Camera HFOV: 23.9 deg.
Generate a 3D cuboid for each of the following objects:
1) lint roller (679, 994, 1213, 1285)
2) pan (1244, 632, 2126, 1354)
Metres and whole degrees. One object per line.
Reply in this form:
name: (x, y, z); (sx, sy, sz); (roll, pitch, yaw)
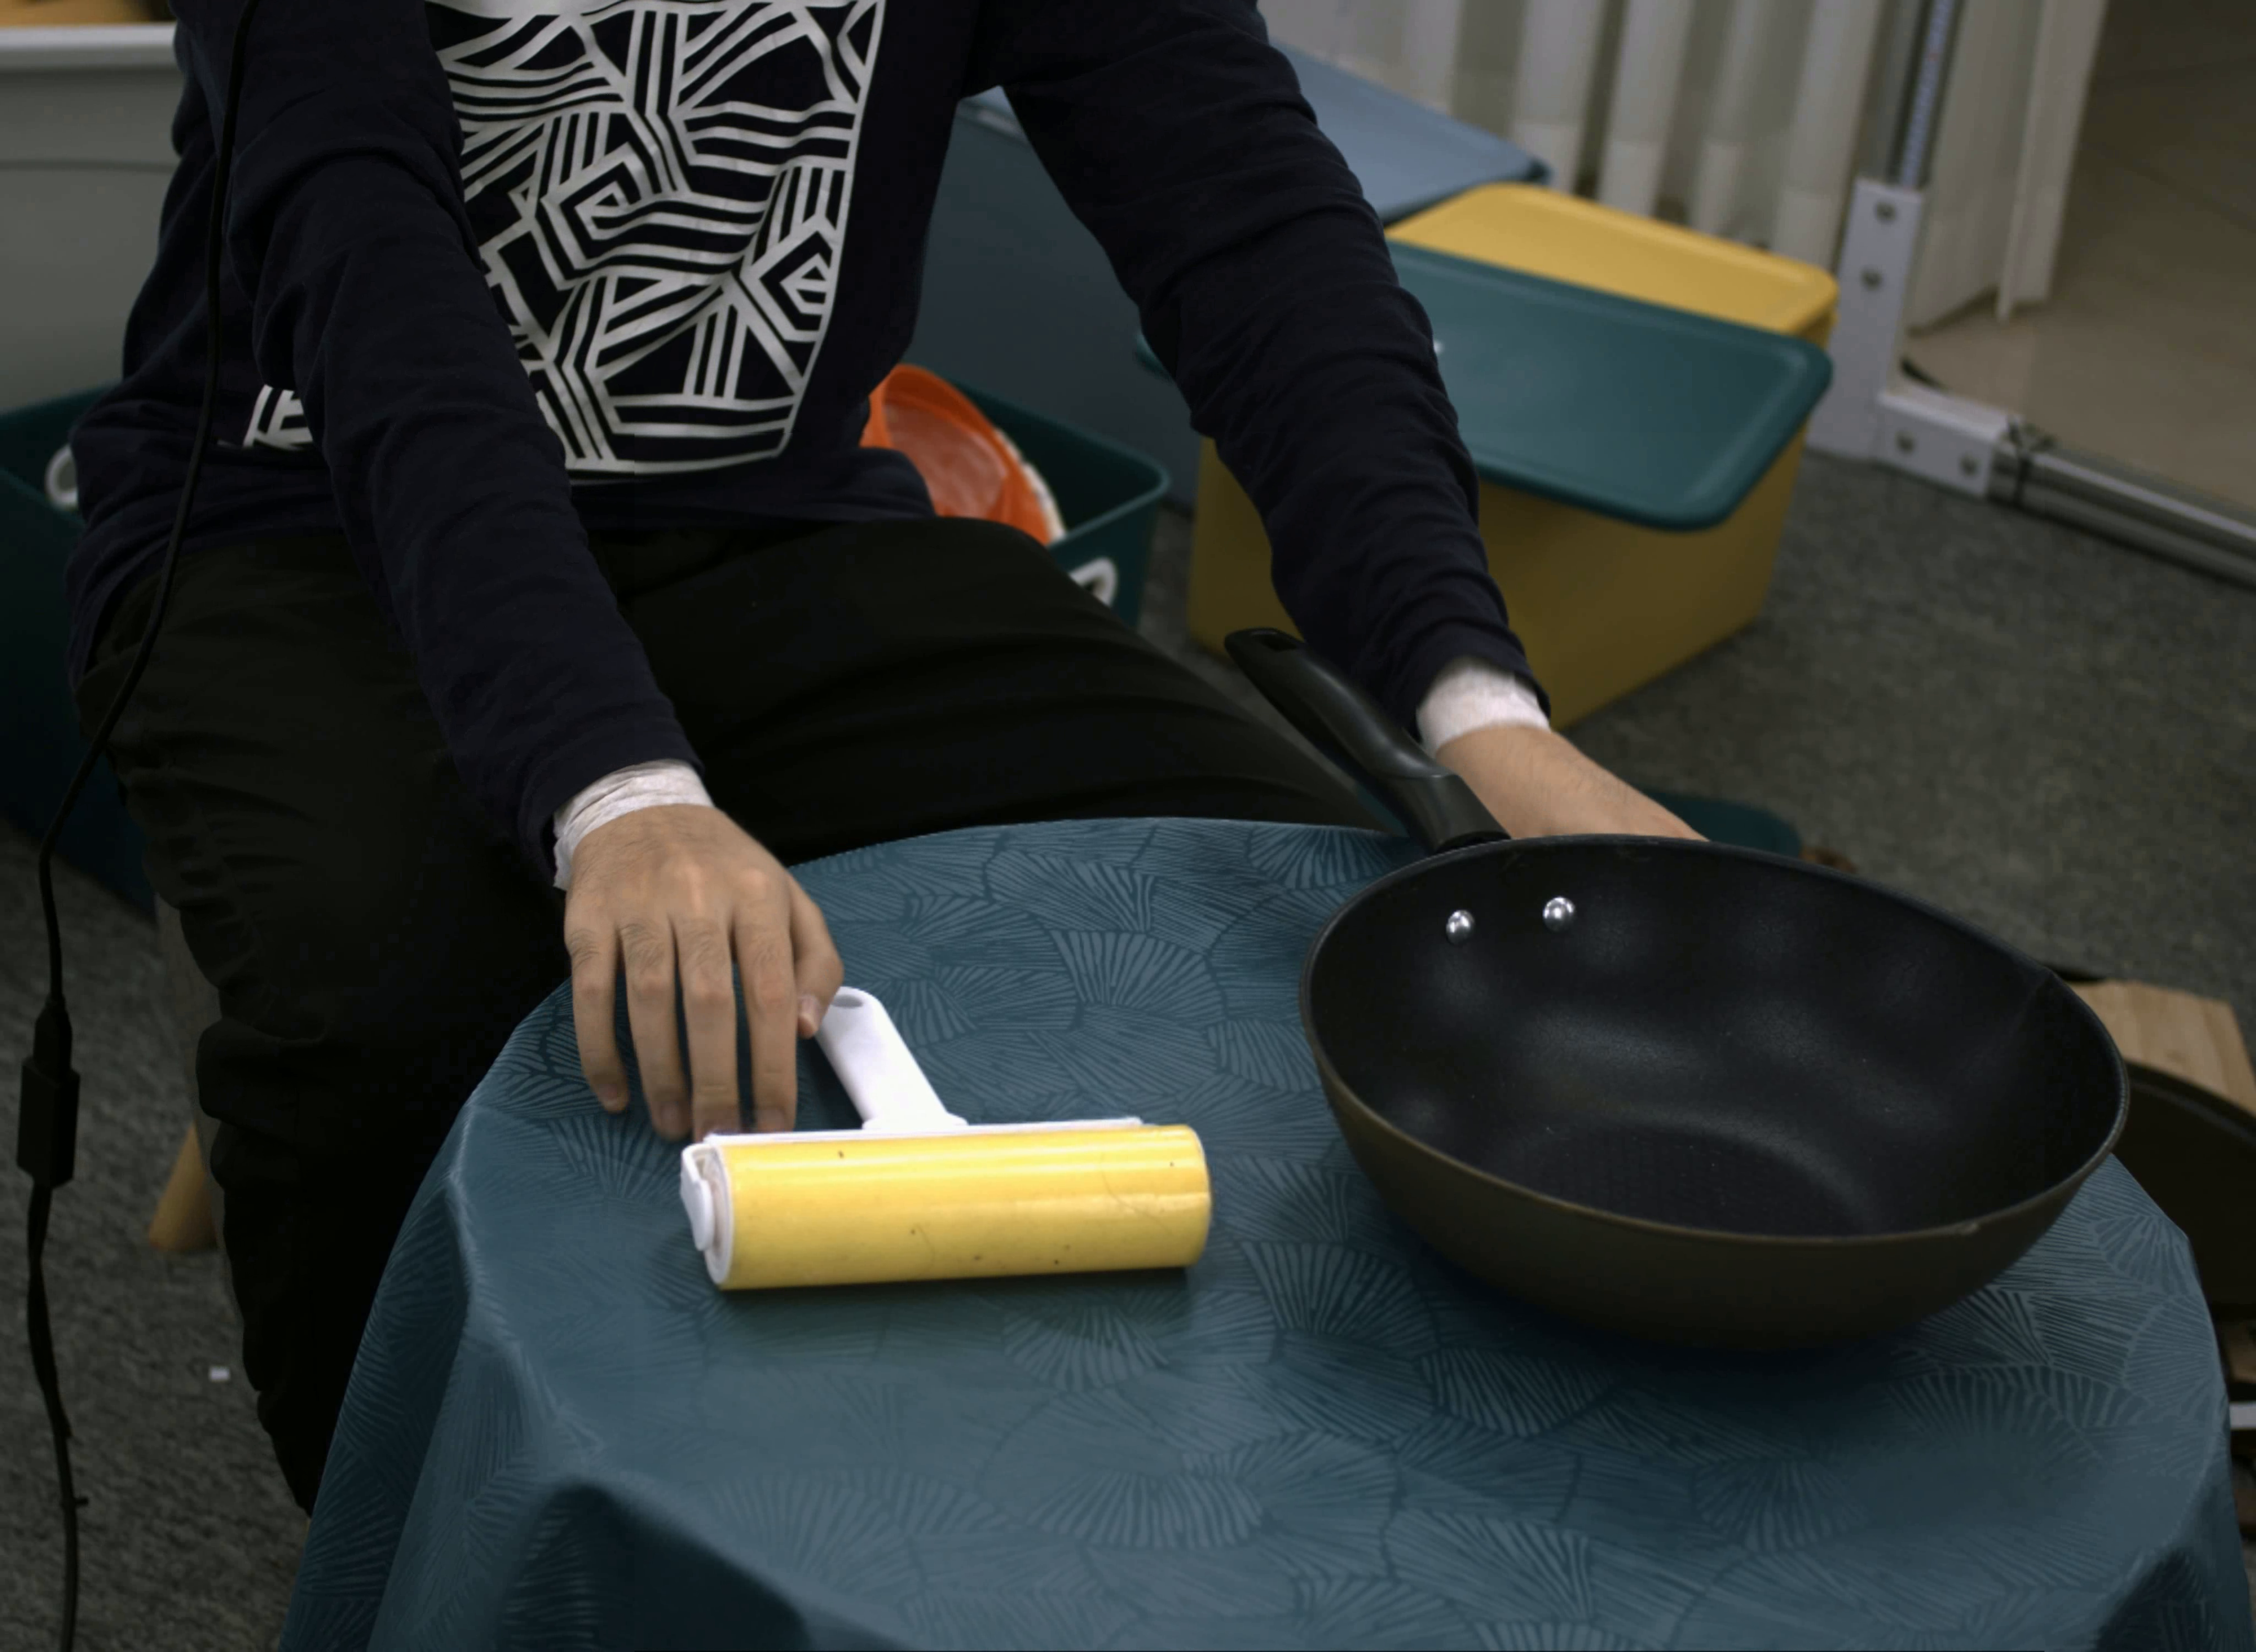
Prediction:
lint roller: (-0.078, 0.091, 1.799); (0.173, 0.051, 0.194); (-2, 29, -17)
pan: (0.148, 0.061, 1.872); (0.286, 0.086, 0.467); (-8, 30, -27)
